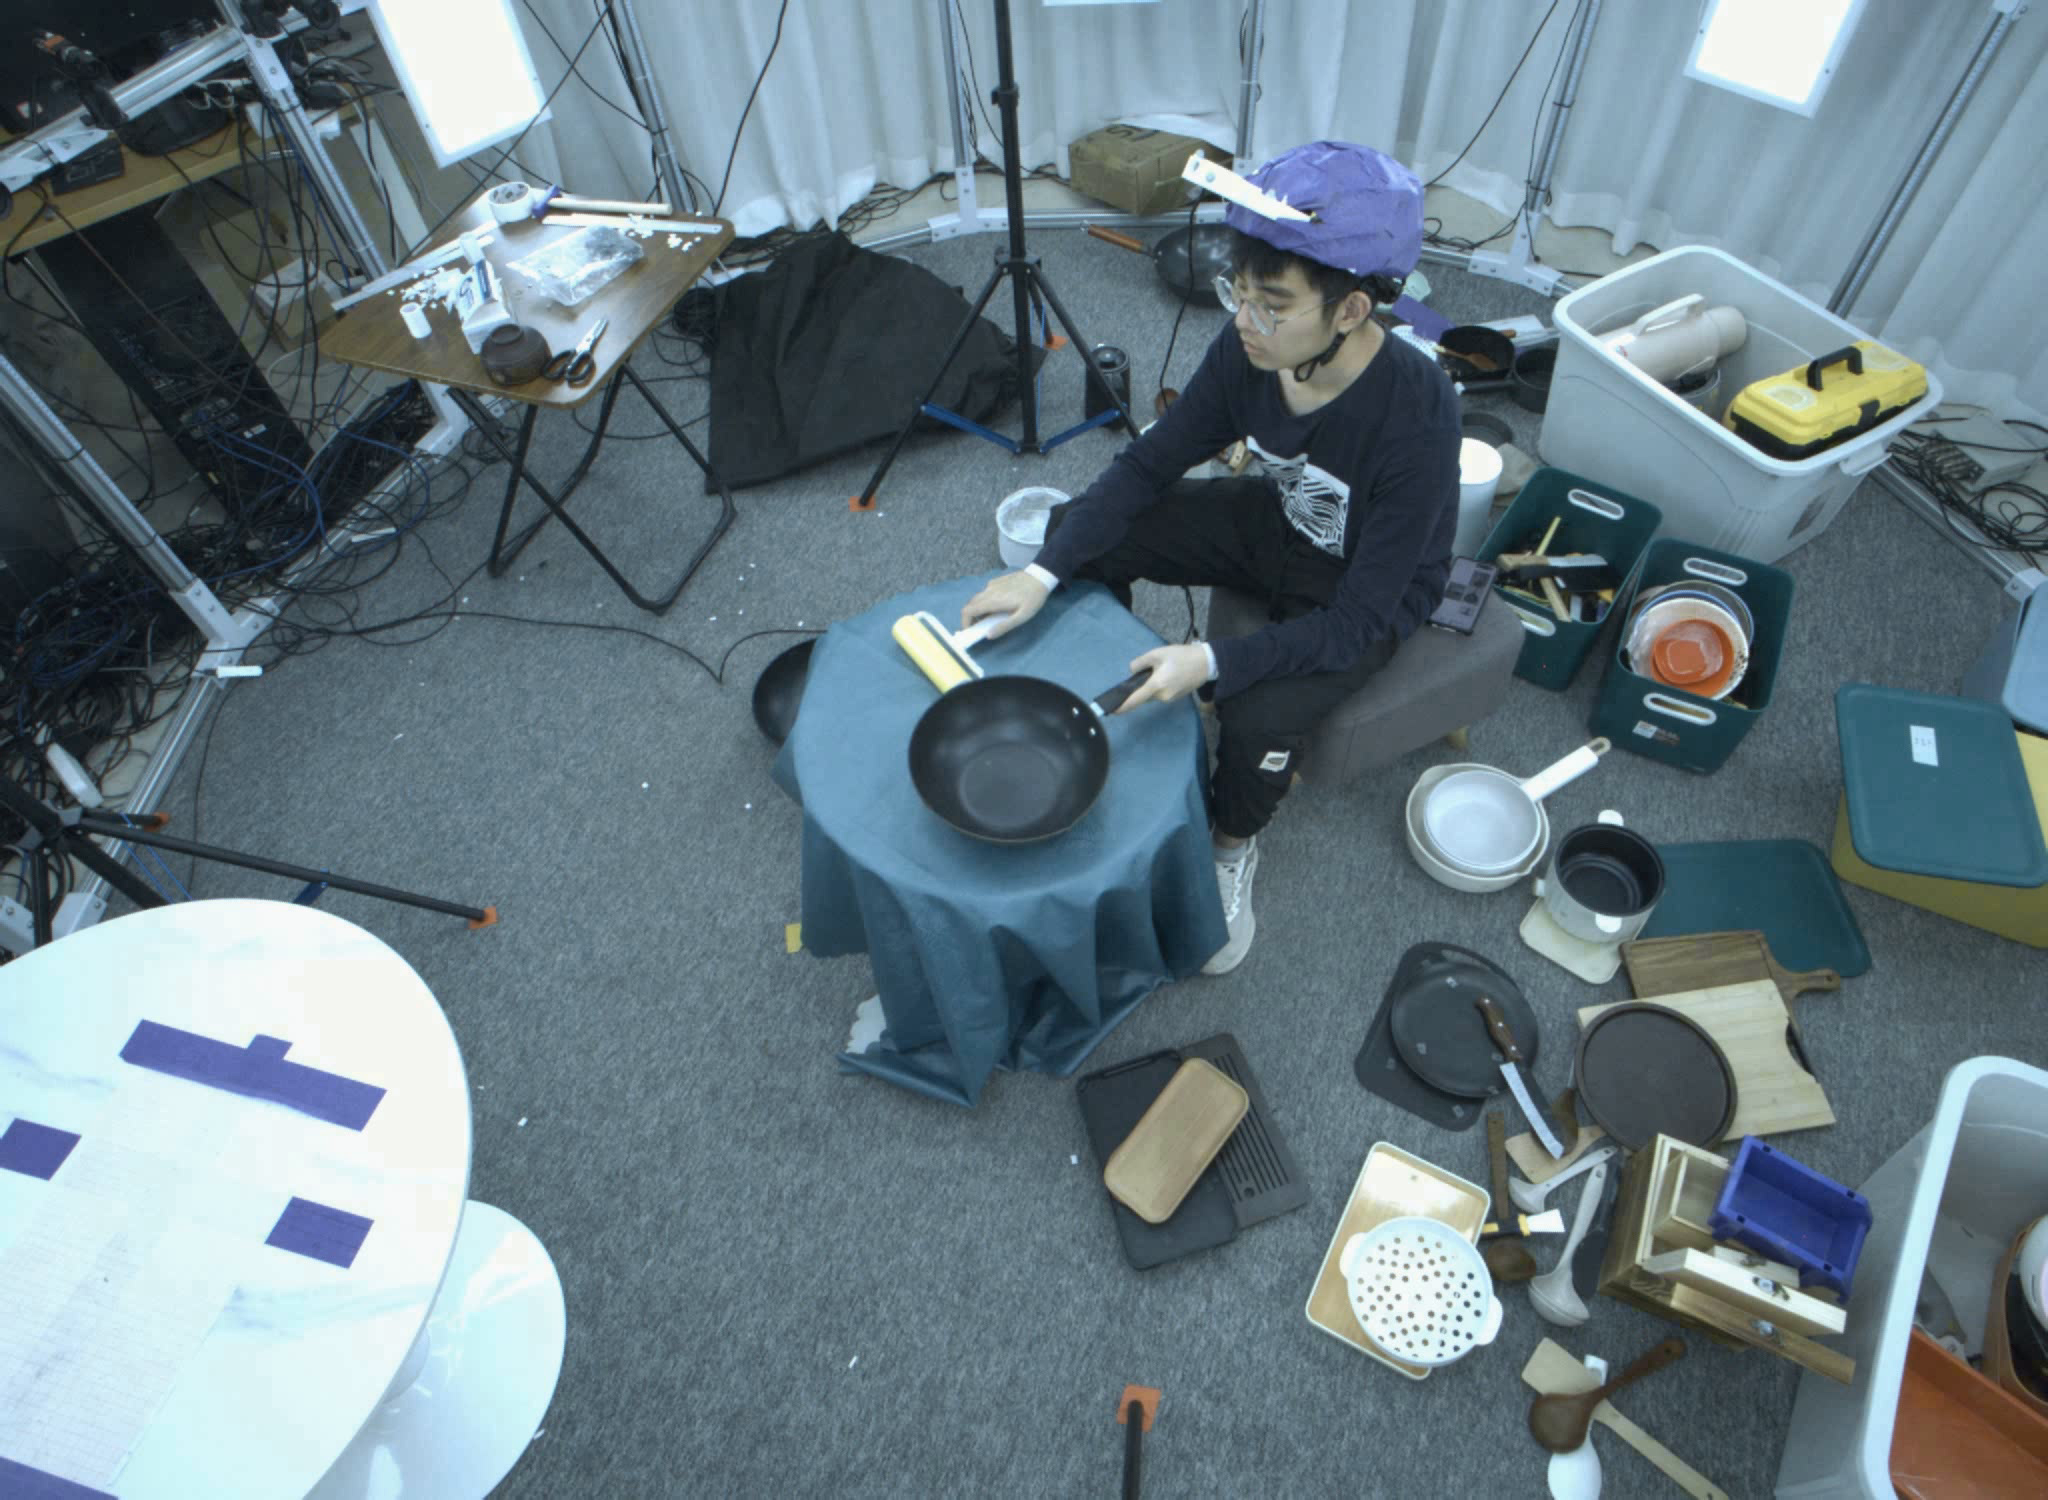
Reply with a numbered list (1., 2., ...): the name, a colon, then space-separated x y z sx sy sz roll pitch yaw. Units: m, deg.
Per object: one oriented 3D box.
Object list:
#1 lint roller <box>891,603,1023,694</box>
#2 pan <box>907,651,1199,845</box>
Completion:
1. lint roller: -0.084 -0.182 1.887 0.193 0.052 0.171 -35 61 -13
2. pan: 0.055 -0.018 1.754 0.467 0.087 0.283 -30 61 -20
